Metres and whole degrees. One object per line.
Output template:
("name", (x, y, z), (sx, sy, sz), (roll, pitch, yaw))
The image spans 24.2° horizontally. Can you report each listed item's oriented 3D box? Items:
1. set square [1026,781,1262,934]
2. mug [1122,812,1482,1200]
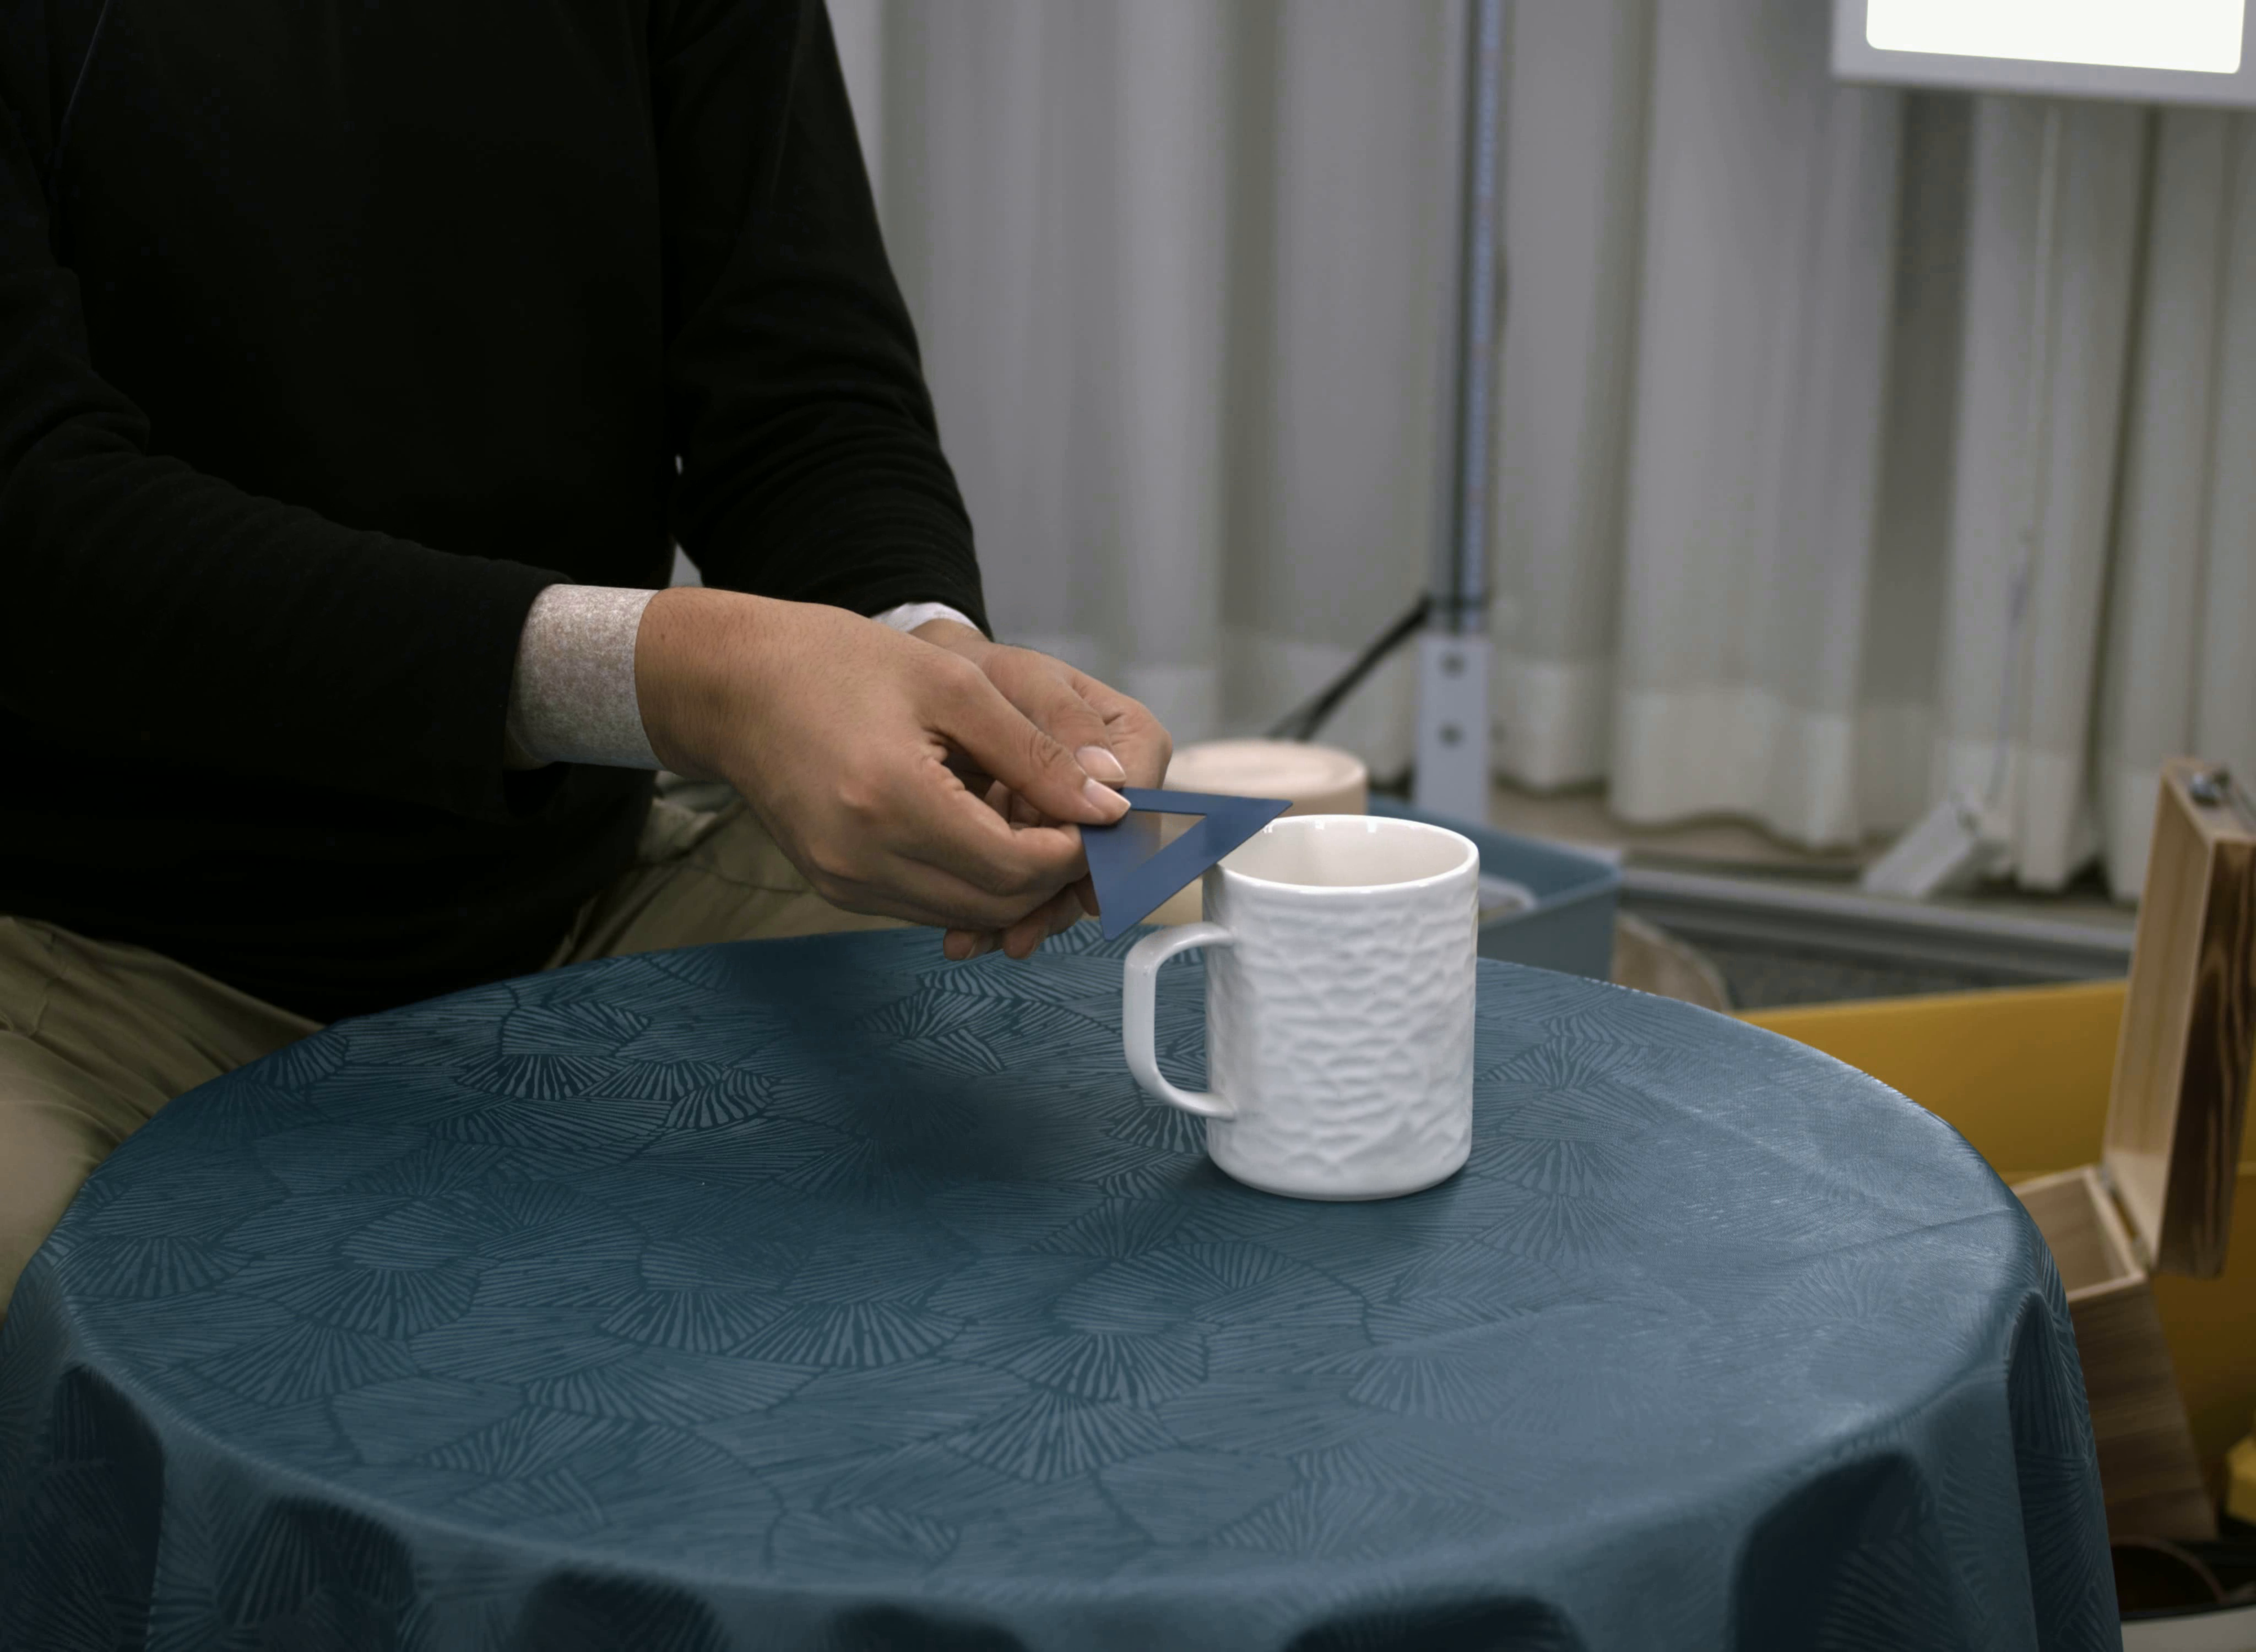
("set square", (-0.013, 0.004, 1.591), (0.060, 0.006, 0.132), (20, 25, 23))
("mug", (0.052, 0.058, 1.627), (0.119, 0.103, 0.084), (-8, 18, -29))
